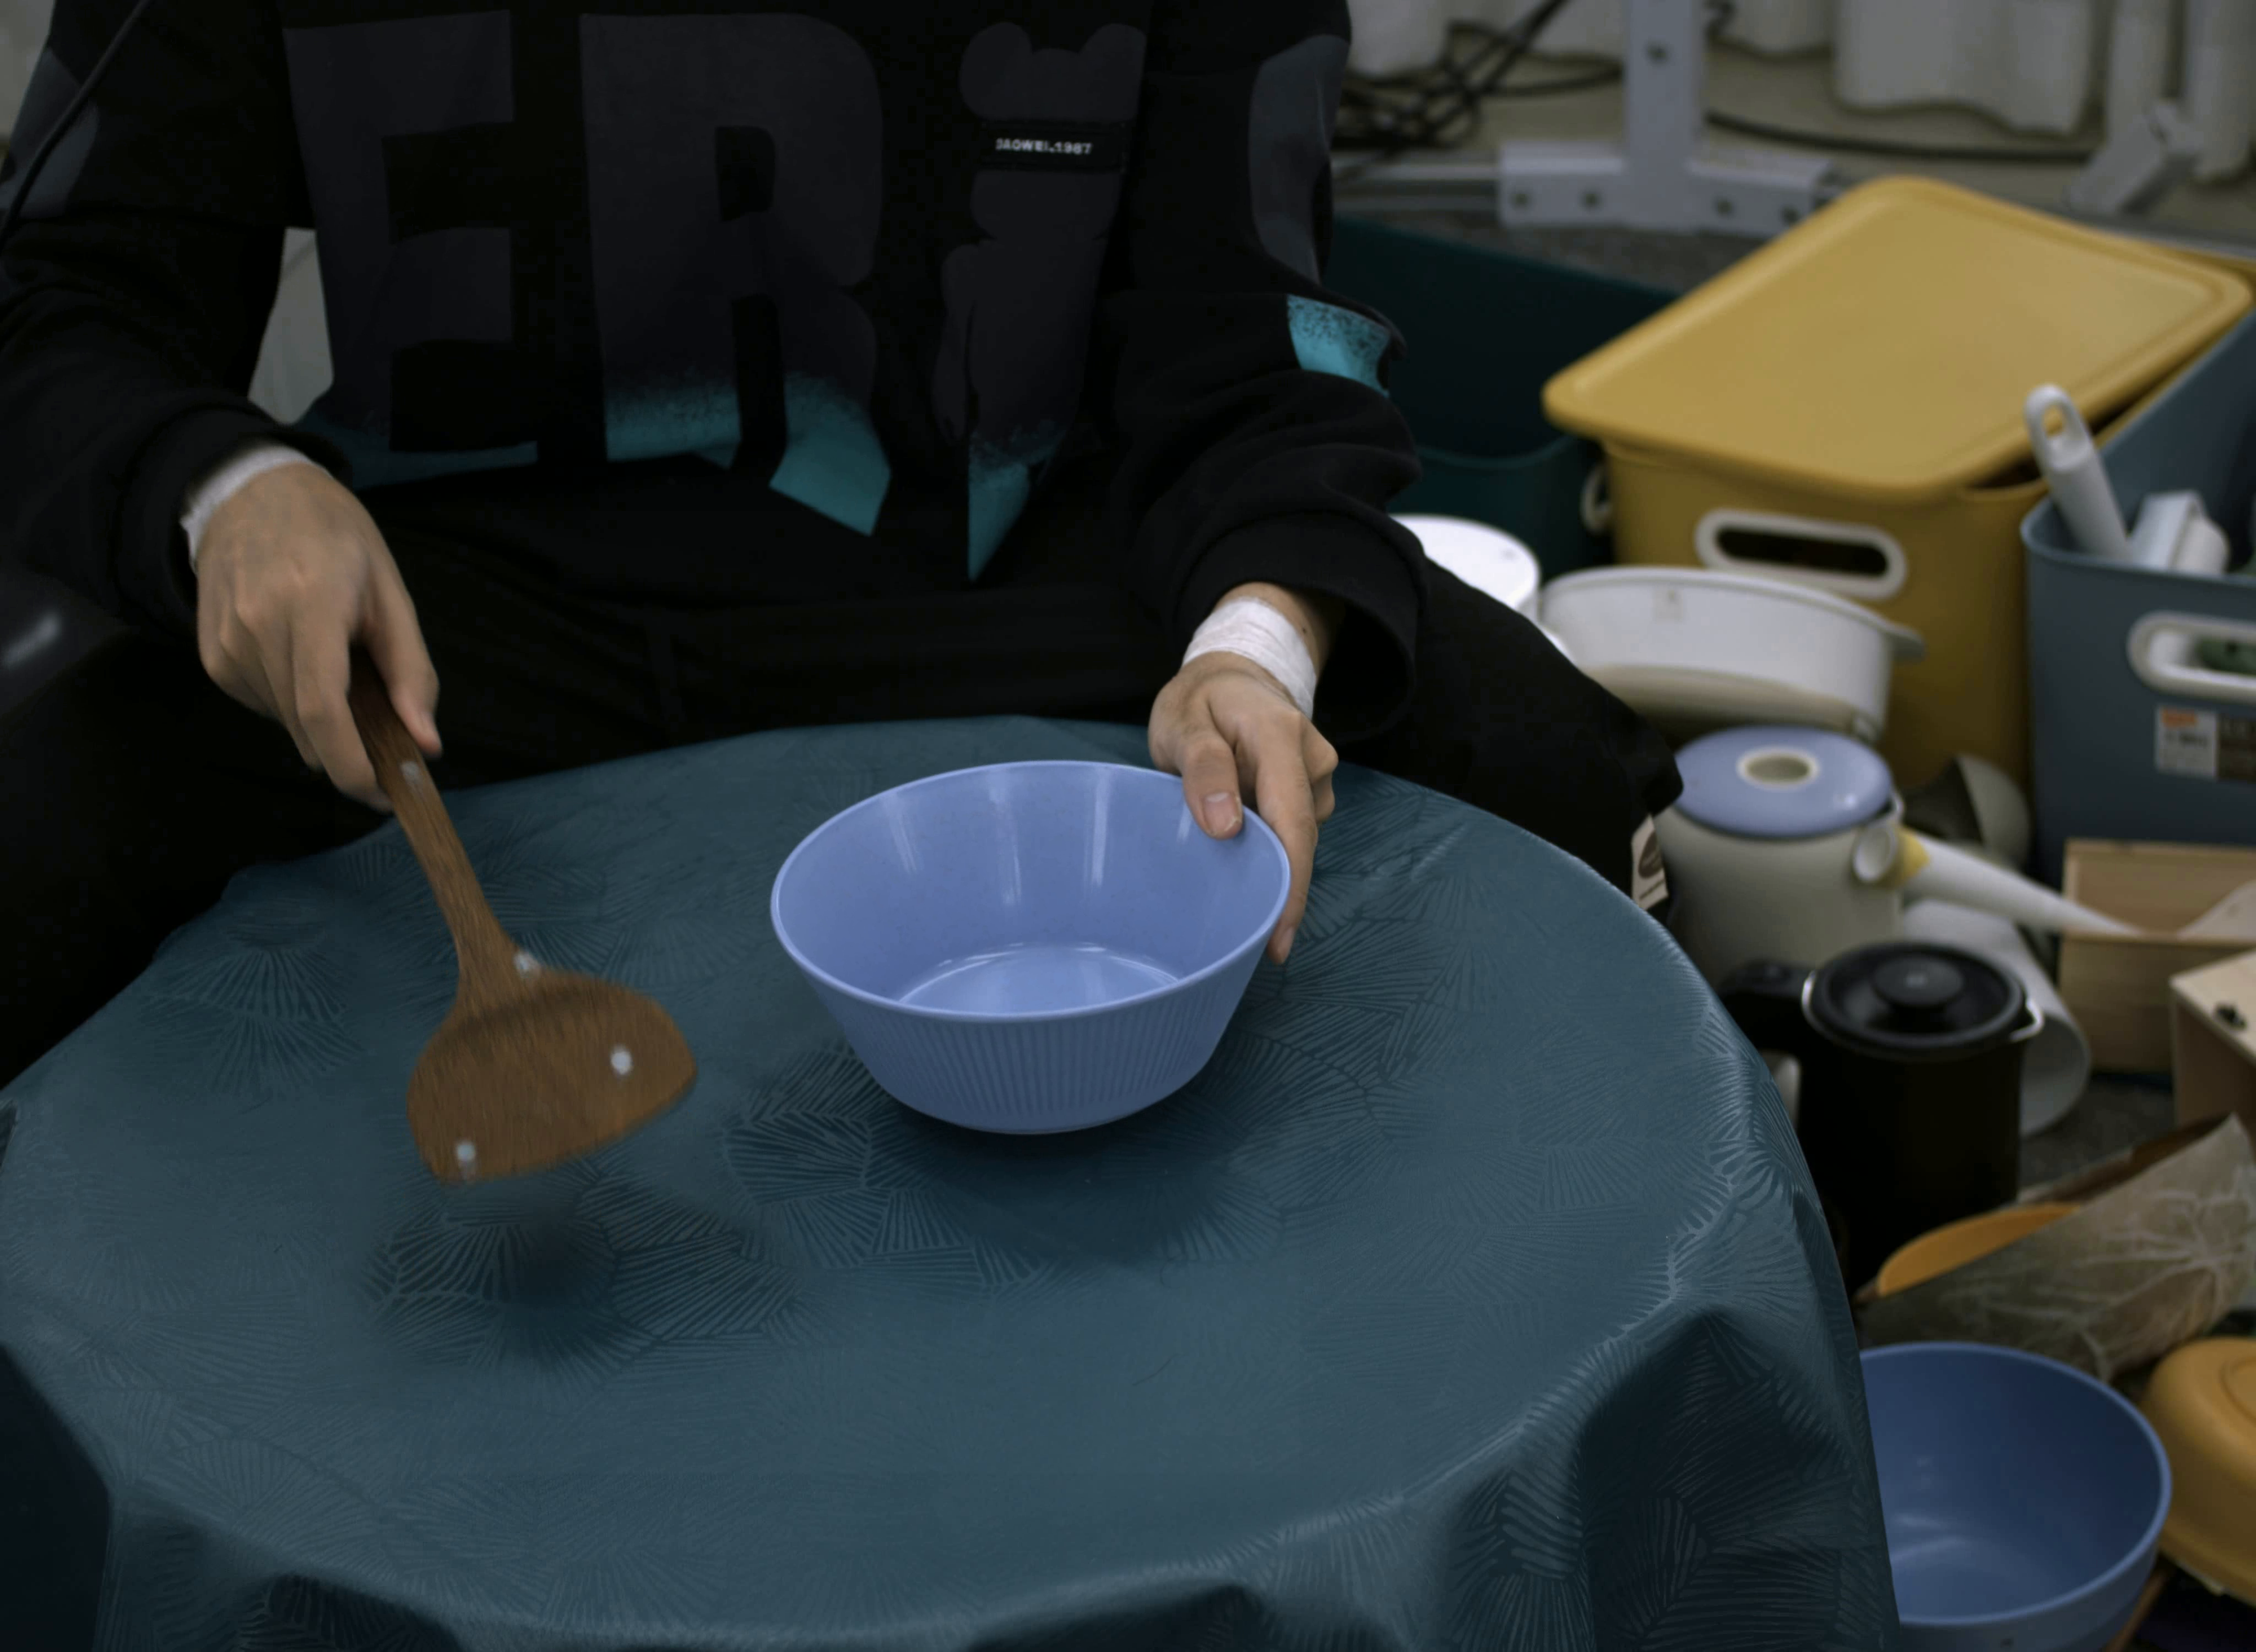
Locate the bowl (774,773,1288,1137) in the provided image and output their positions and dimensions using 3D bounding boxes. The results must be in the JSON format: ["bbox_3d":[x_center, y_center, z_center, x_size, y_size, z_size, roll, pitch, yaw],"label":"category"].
[{"bbox_3d":[-0.031,0.049,1.908,0.175,0.069,0.179,-2,27,1],"label":"bowl"}]

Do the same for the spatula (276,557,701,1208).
[{"bbox_3d":[-0.240,0.008,1.941,0.096,0.015,0.390,-20,40,-10],"label":"spatula"}]
